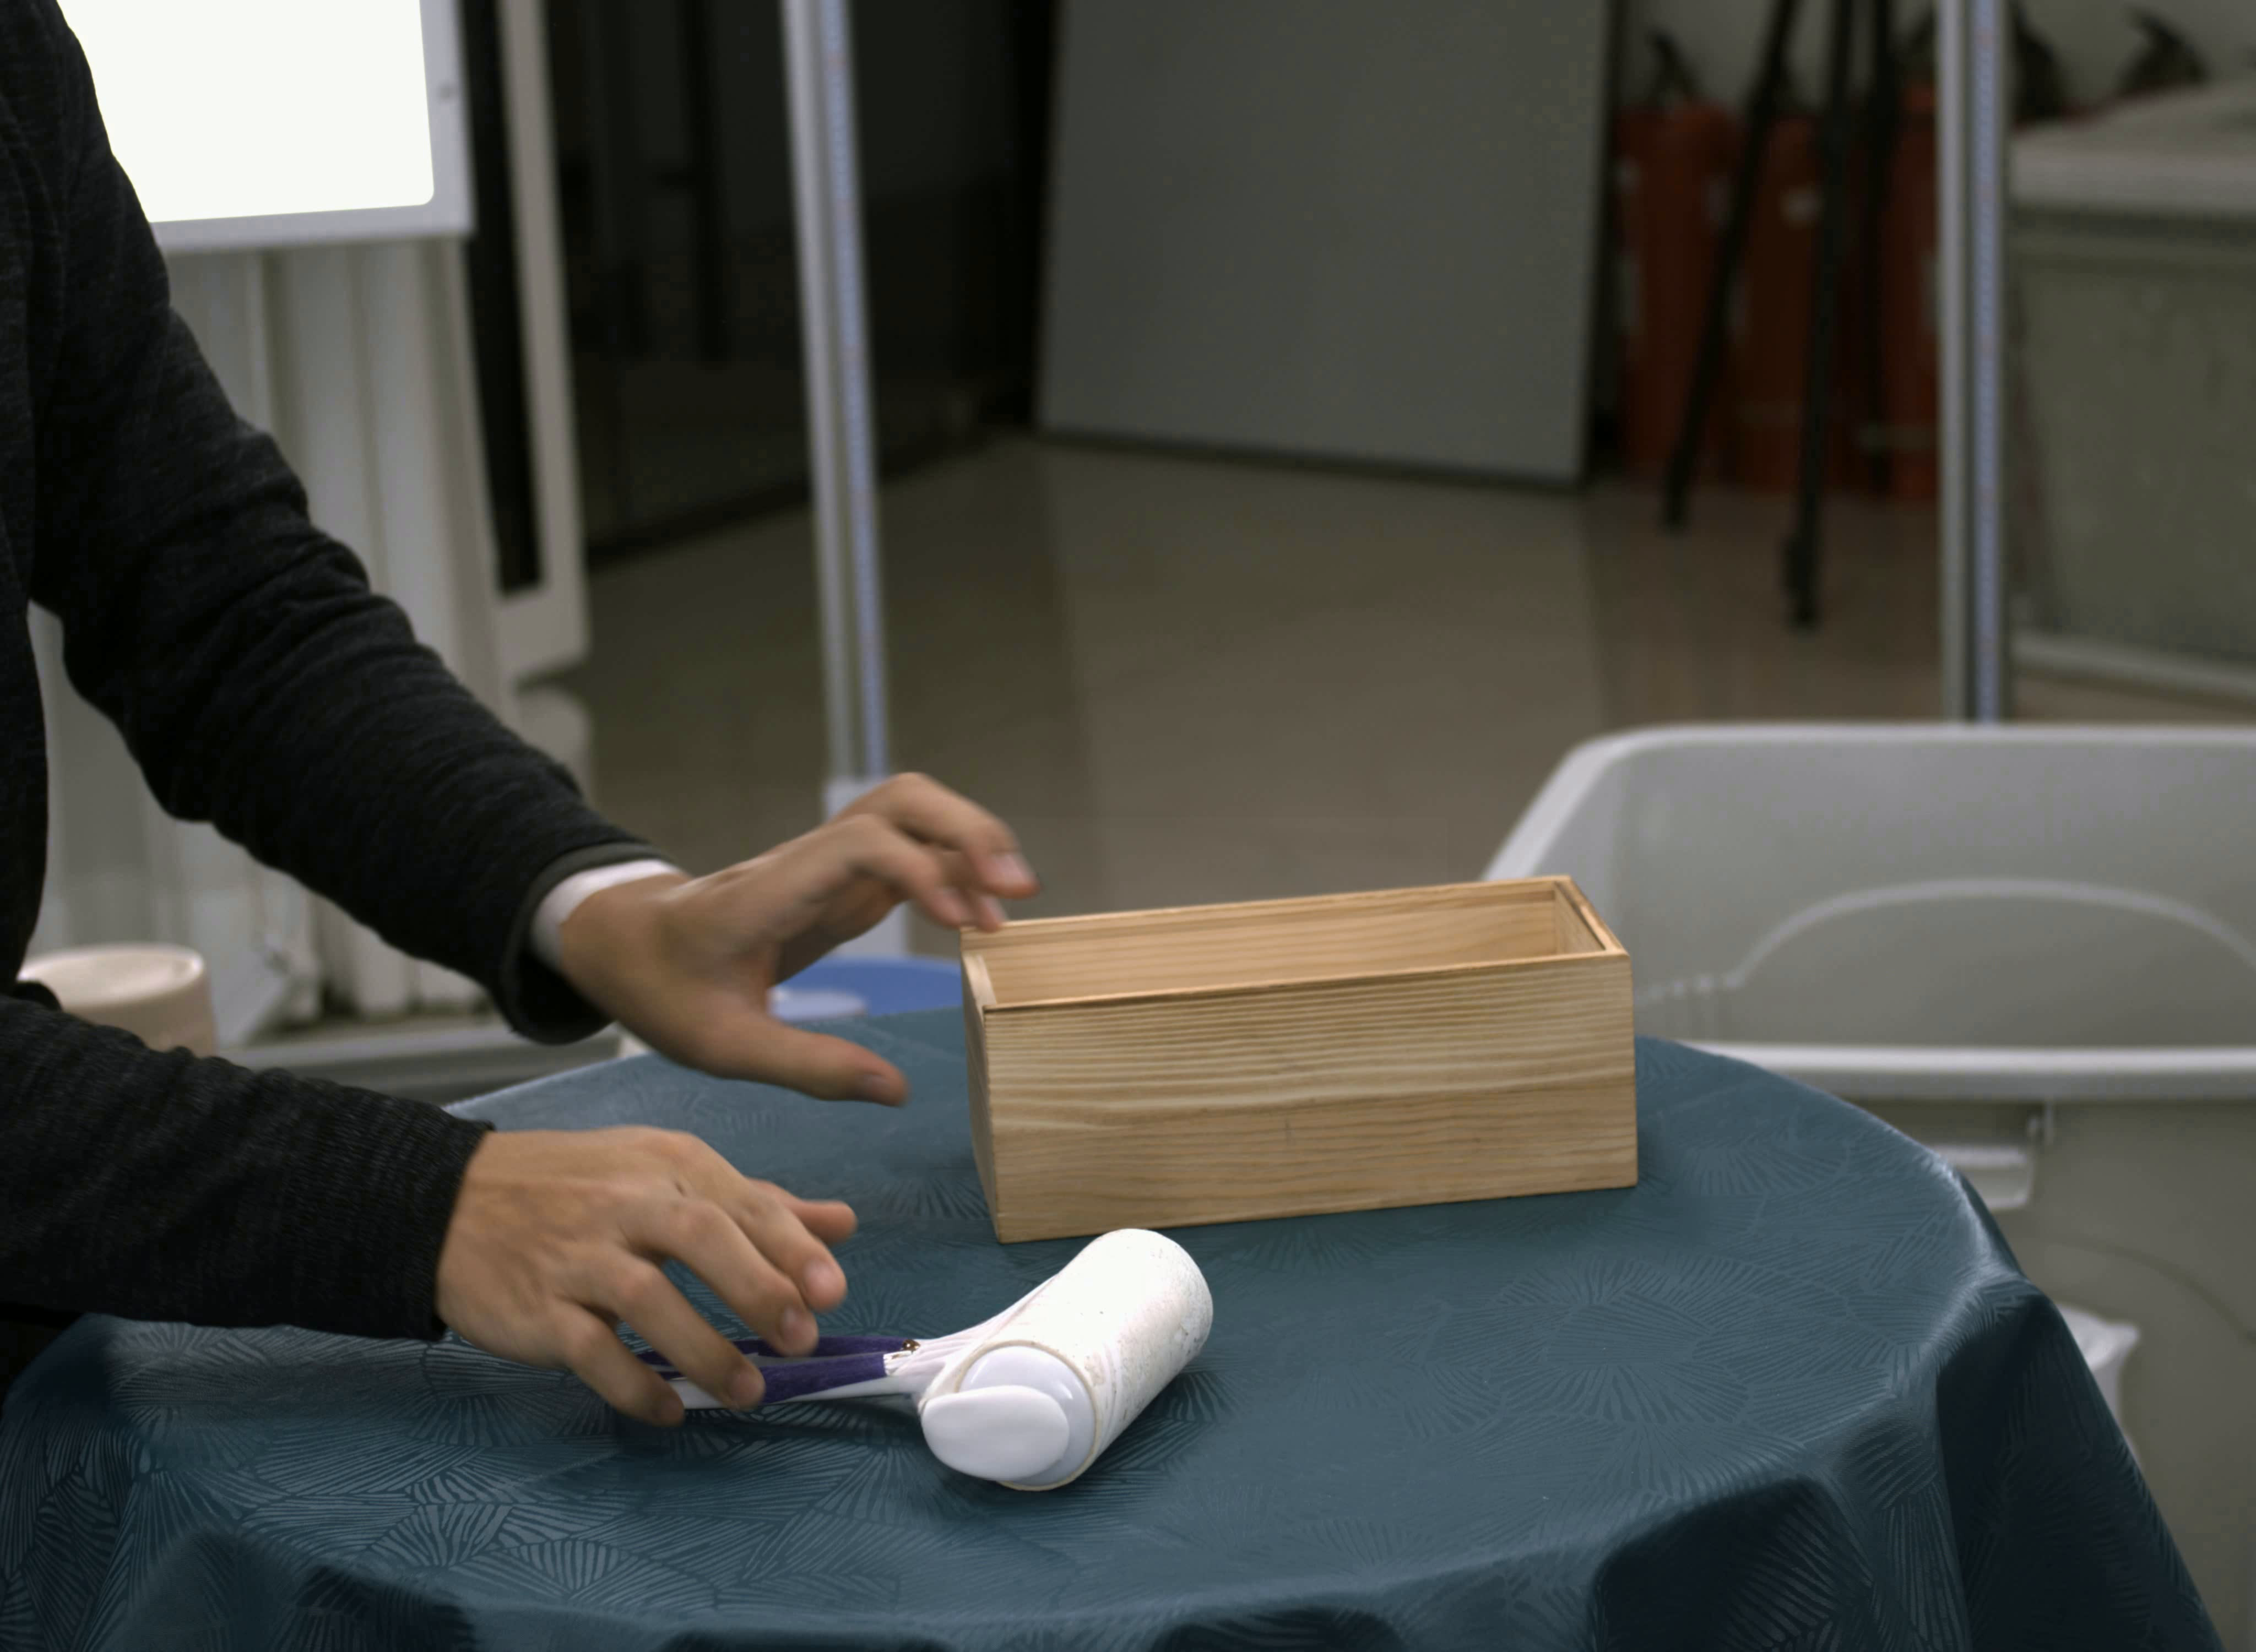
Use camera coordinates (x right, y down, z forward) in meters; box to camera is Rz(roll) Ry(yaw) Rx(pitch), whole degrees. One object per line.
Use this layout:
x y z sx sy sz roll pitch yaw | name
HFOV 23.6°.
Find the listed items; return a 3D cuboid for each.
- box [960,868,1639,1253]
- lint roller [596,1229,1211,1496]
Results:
0.055 0.075 1.772 0.208 0.081 0.108 -6 14 -4 | box
-0.073 0.150 1.574 0.181 0.051 0.131 4 17 22 | lint roller
